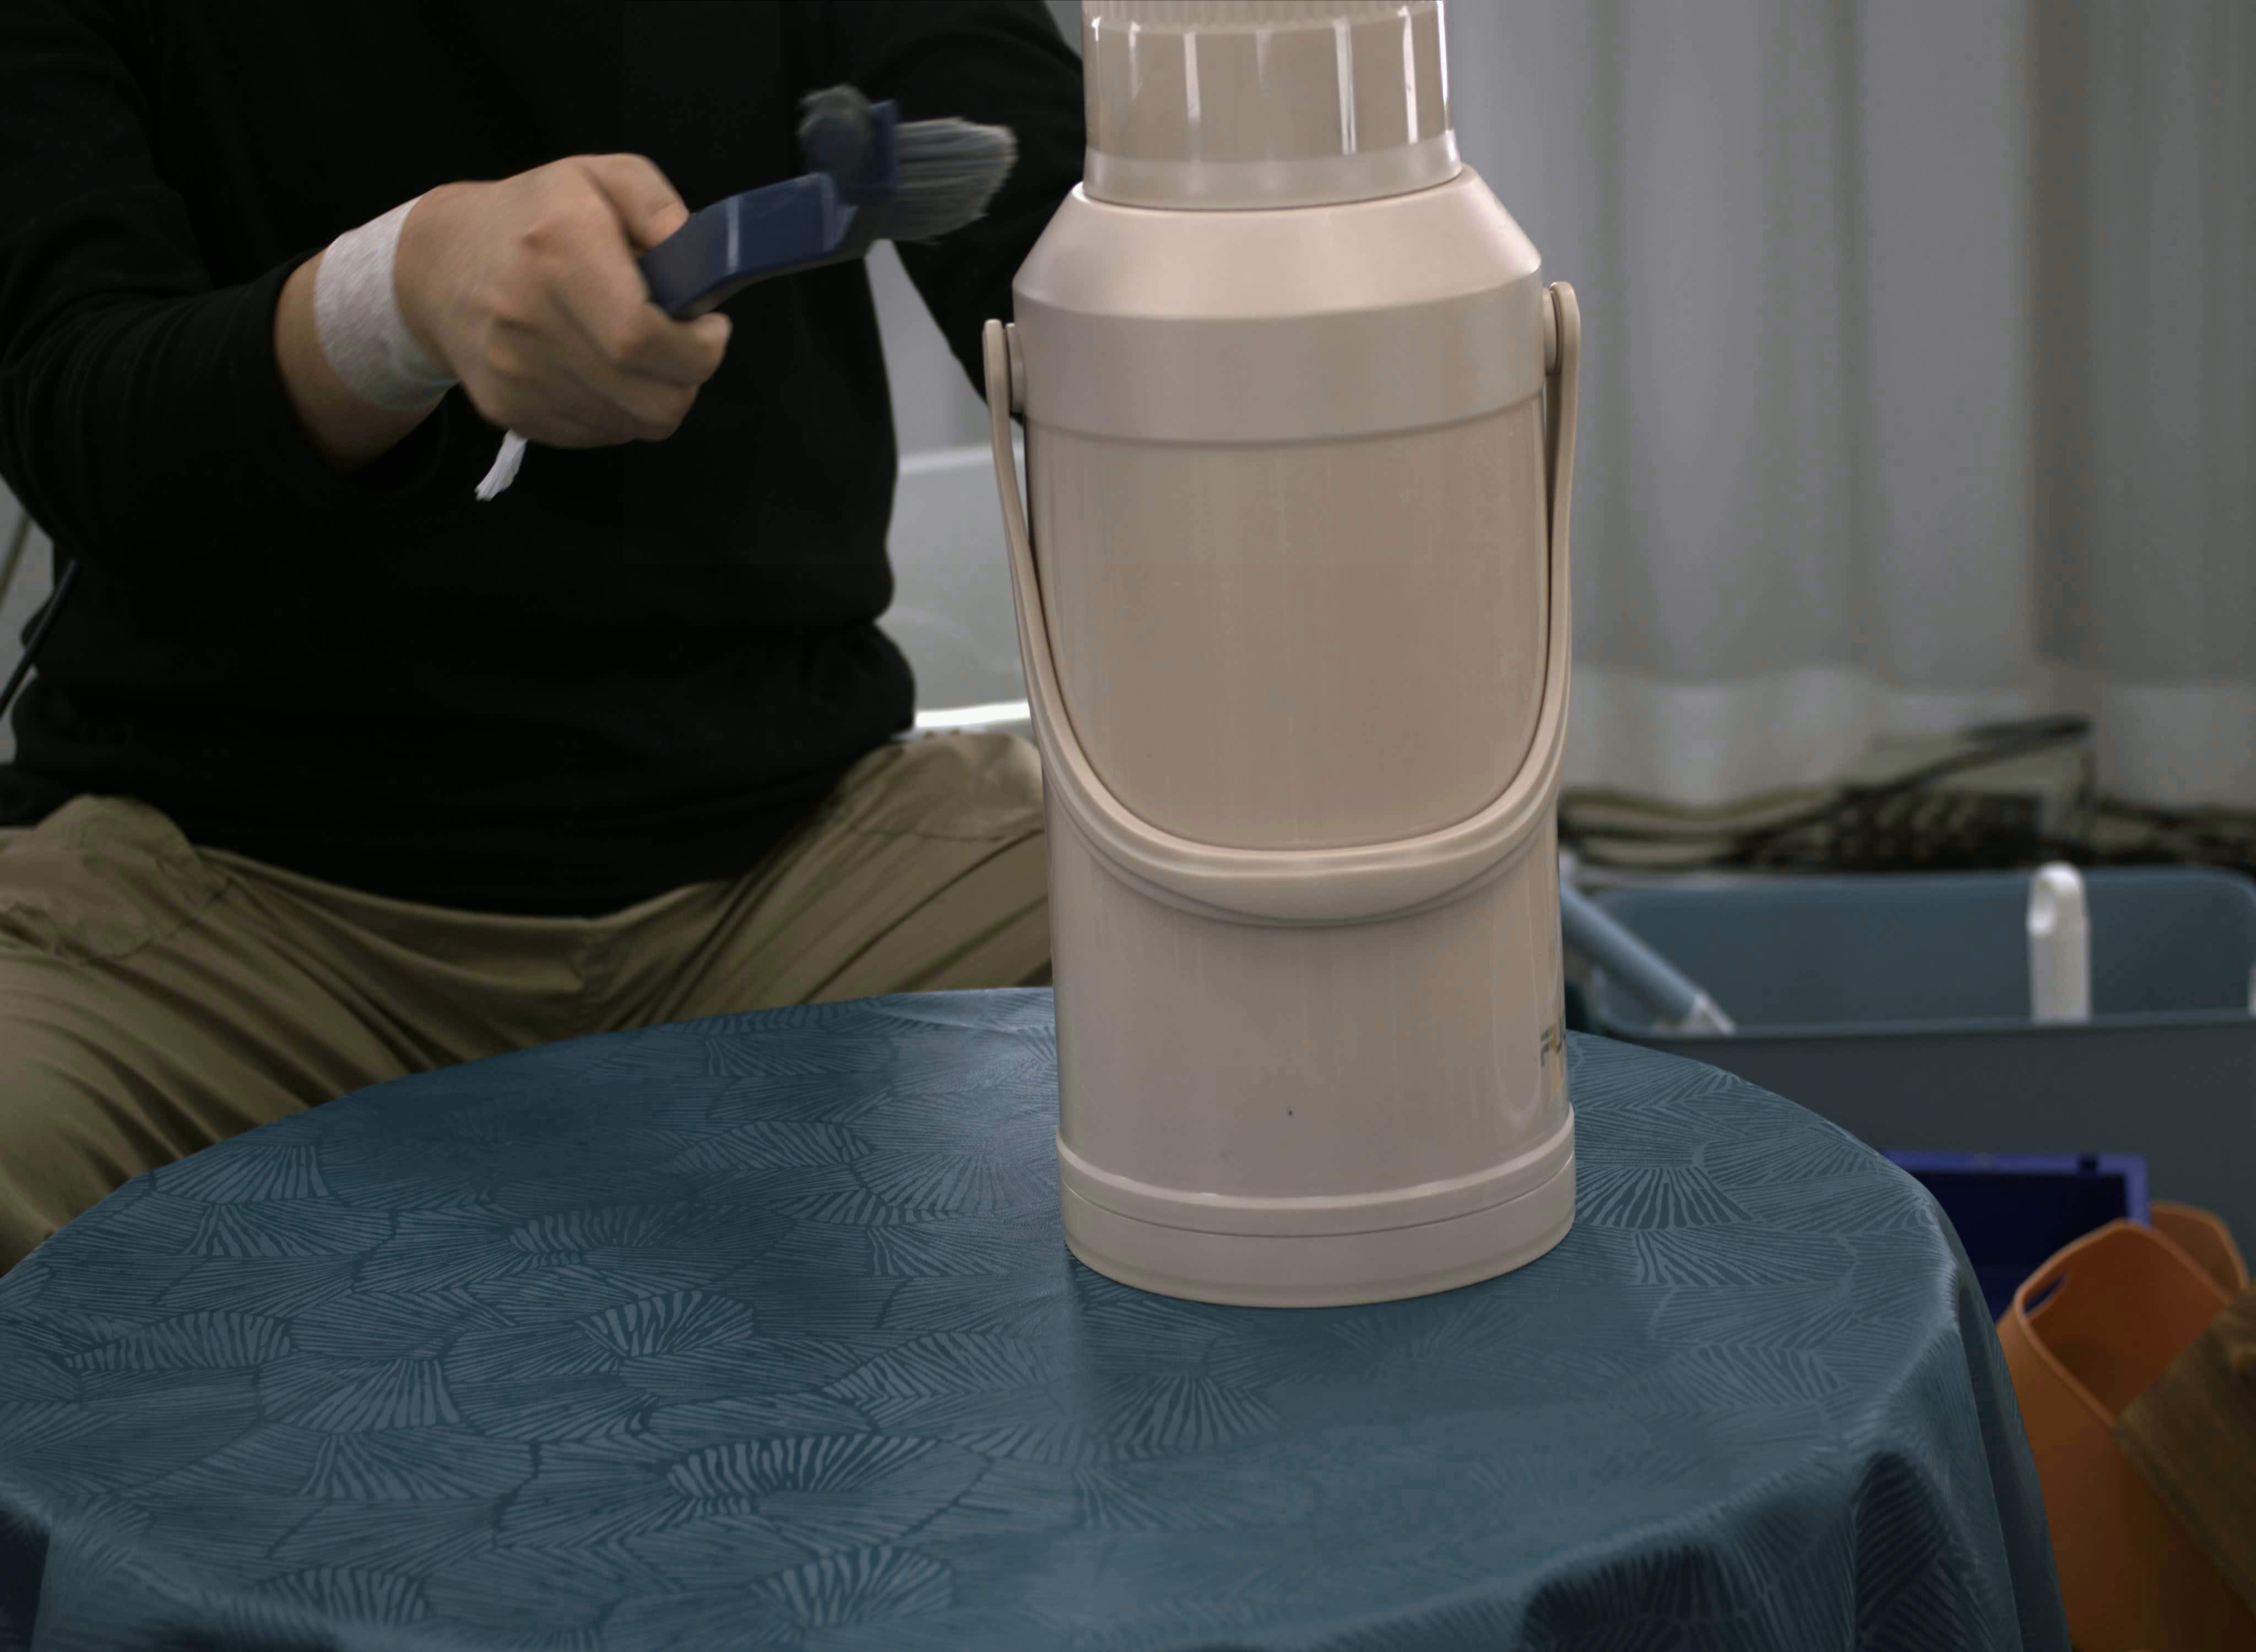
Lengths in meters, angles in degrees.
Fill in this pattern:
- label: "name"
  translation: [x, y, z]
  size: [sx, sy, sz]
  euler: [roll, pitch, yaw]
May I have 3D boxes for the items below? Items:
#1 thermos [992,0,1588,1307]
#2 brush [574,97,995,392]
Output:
- label: "thermos"
  translation: [0.051, -0.074, 1.647]
  size: [0.174, 0.405, 0.208]
  euler: [-5, 14, -4]
- label: "brush"
  translation: [-0.124, -0.174, 1.632]
  size: [0.095, 0.034, 0.273]
  euler: [2, -9, -34]
